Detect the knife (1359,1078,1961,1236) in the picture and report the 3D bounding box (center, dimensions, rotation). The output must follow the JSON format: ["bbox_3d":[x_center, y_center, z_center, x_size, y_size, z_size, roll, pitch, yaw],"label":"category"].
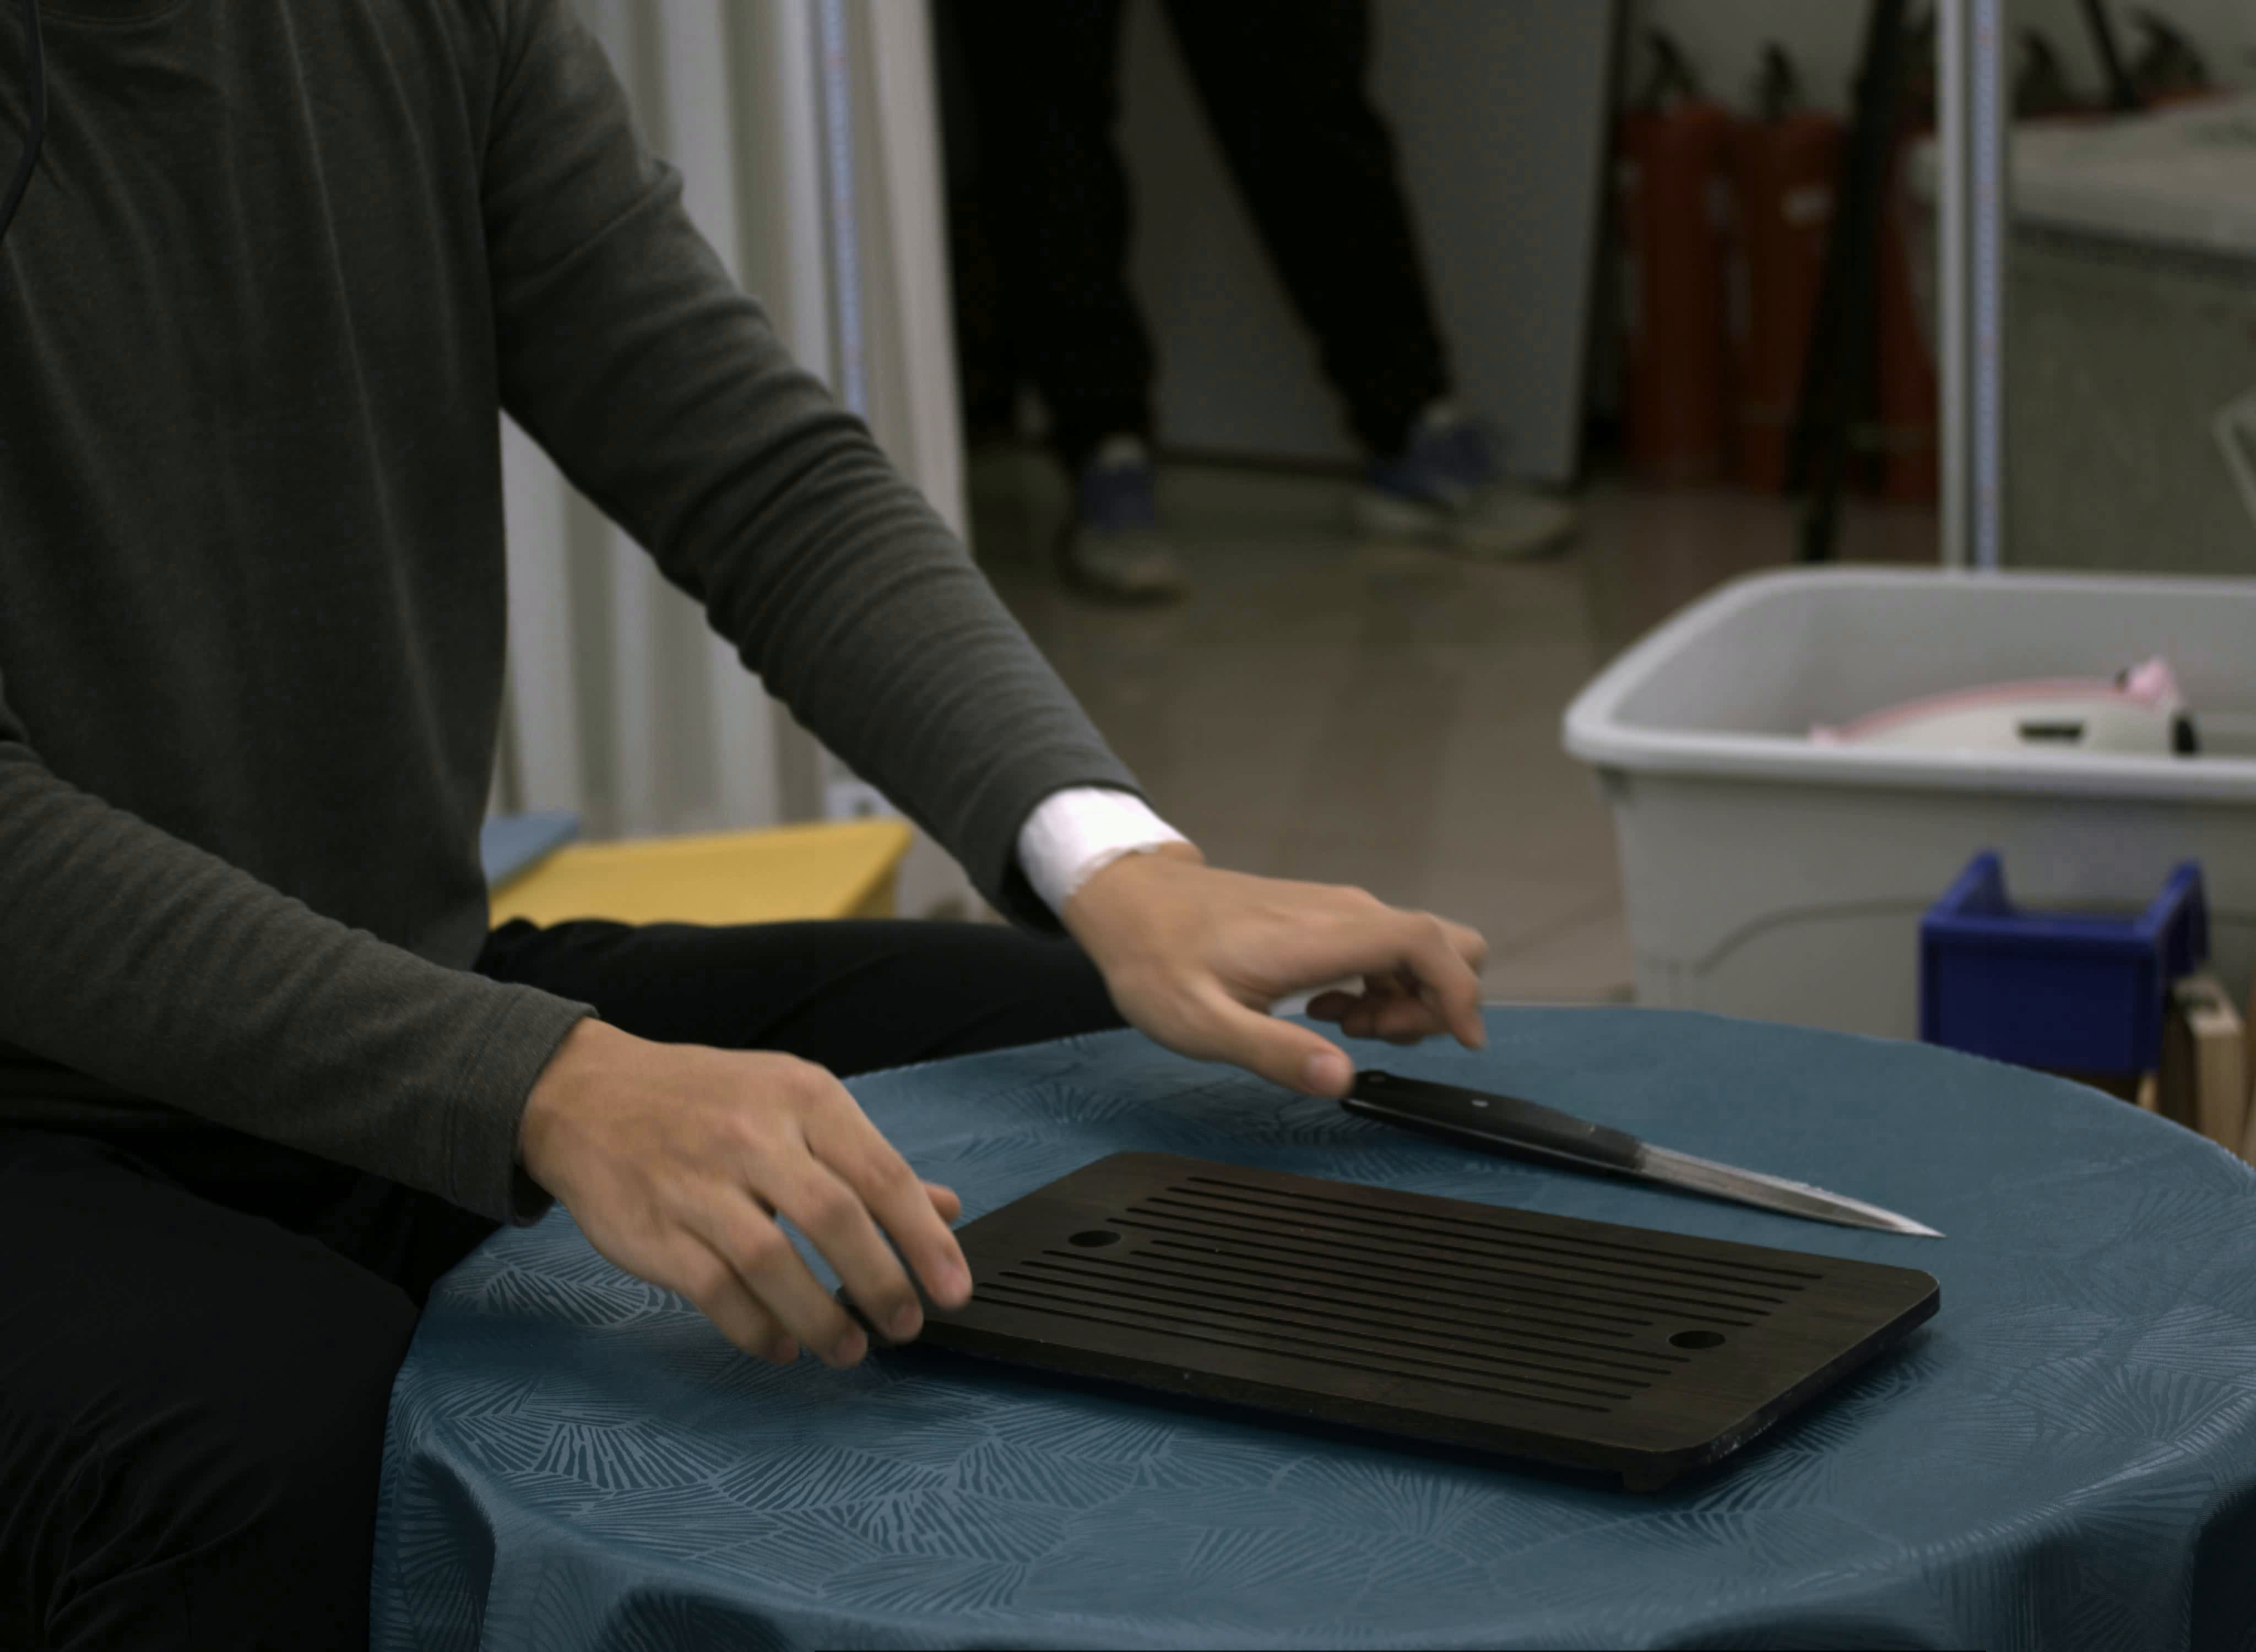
[{"bbox_3d":[0.167,0.110,1.748,0.240,0.016,0.024,11,21,40],"label":"knife"}]

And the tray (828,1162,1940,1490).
[{"bbox_3d":[0.074,0.146,1.610,0.308,0.019,0.167,6,16,36],"label":"tray"}]
